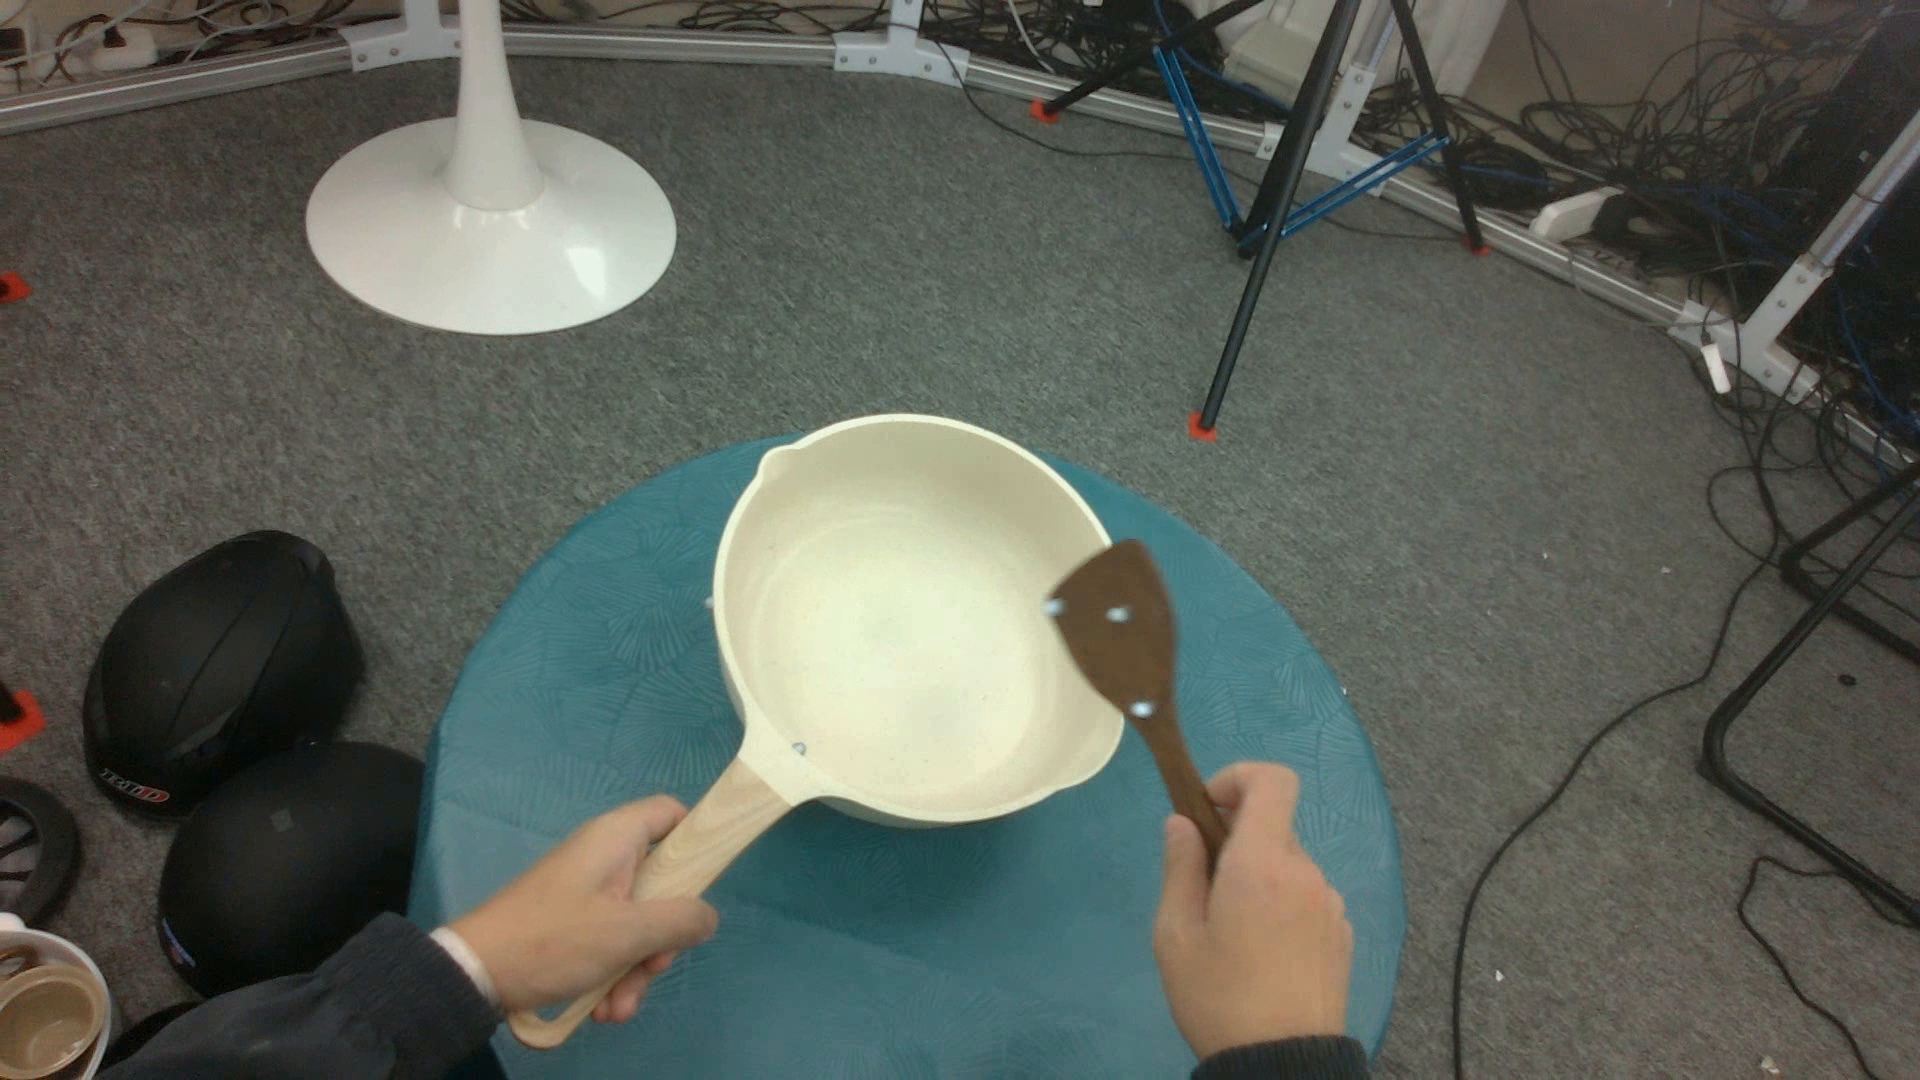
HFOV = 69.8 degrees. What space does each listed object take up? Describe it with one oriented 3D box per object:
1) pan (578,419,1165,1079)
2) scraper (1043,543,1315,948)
[{"bbox_3d":[-0.059,0.115,0.776,0.263,0.101,0.437,39,61,4],"label":"pan"},{"bbox_3d":[0.110,0.101,0.679,0.011,0.075,0.211,-11,62,-41],"label":"scraper"}]
